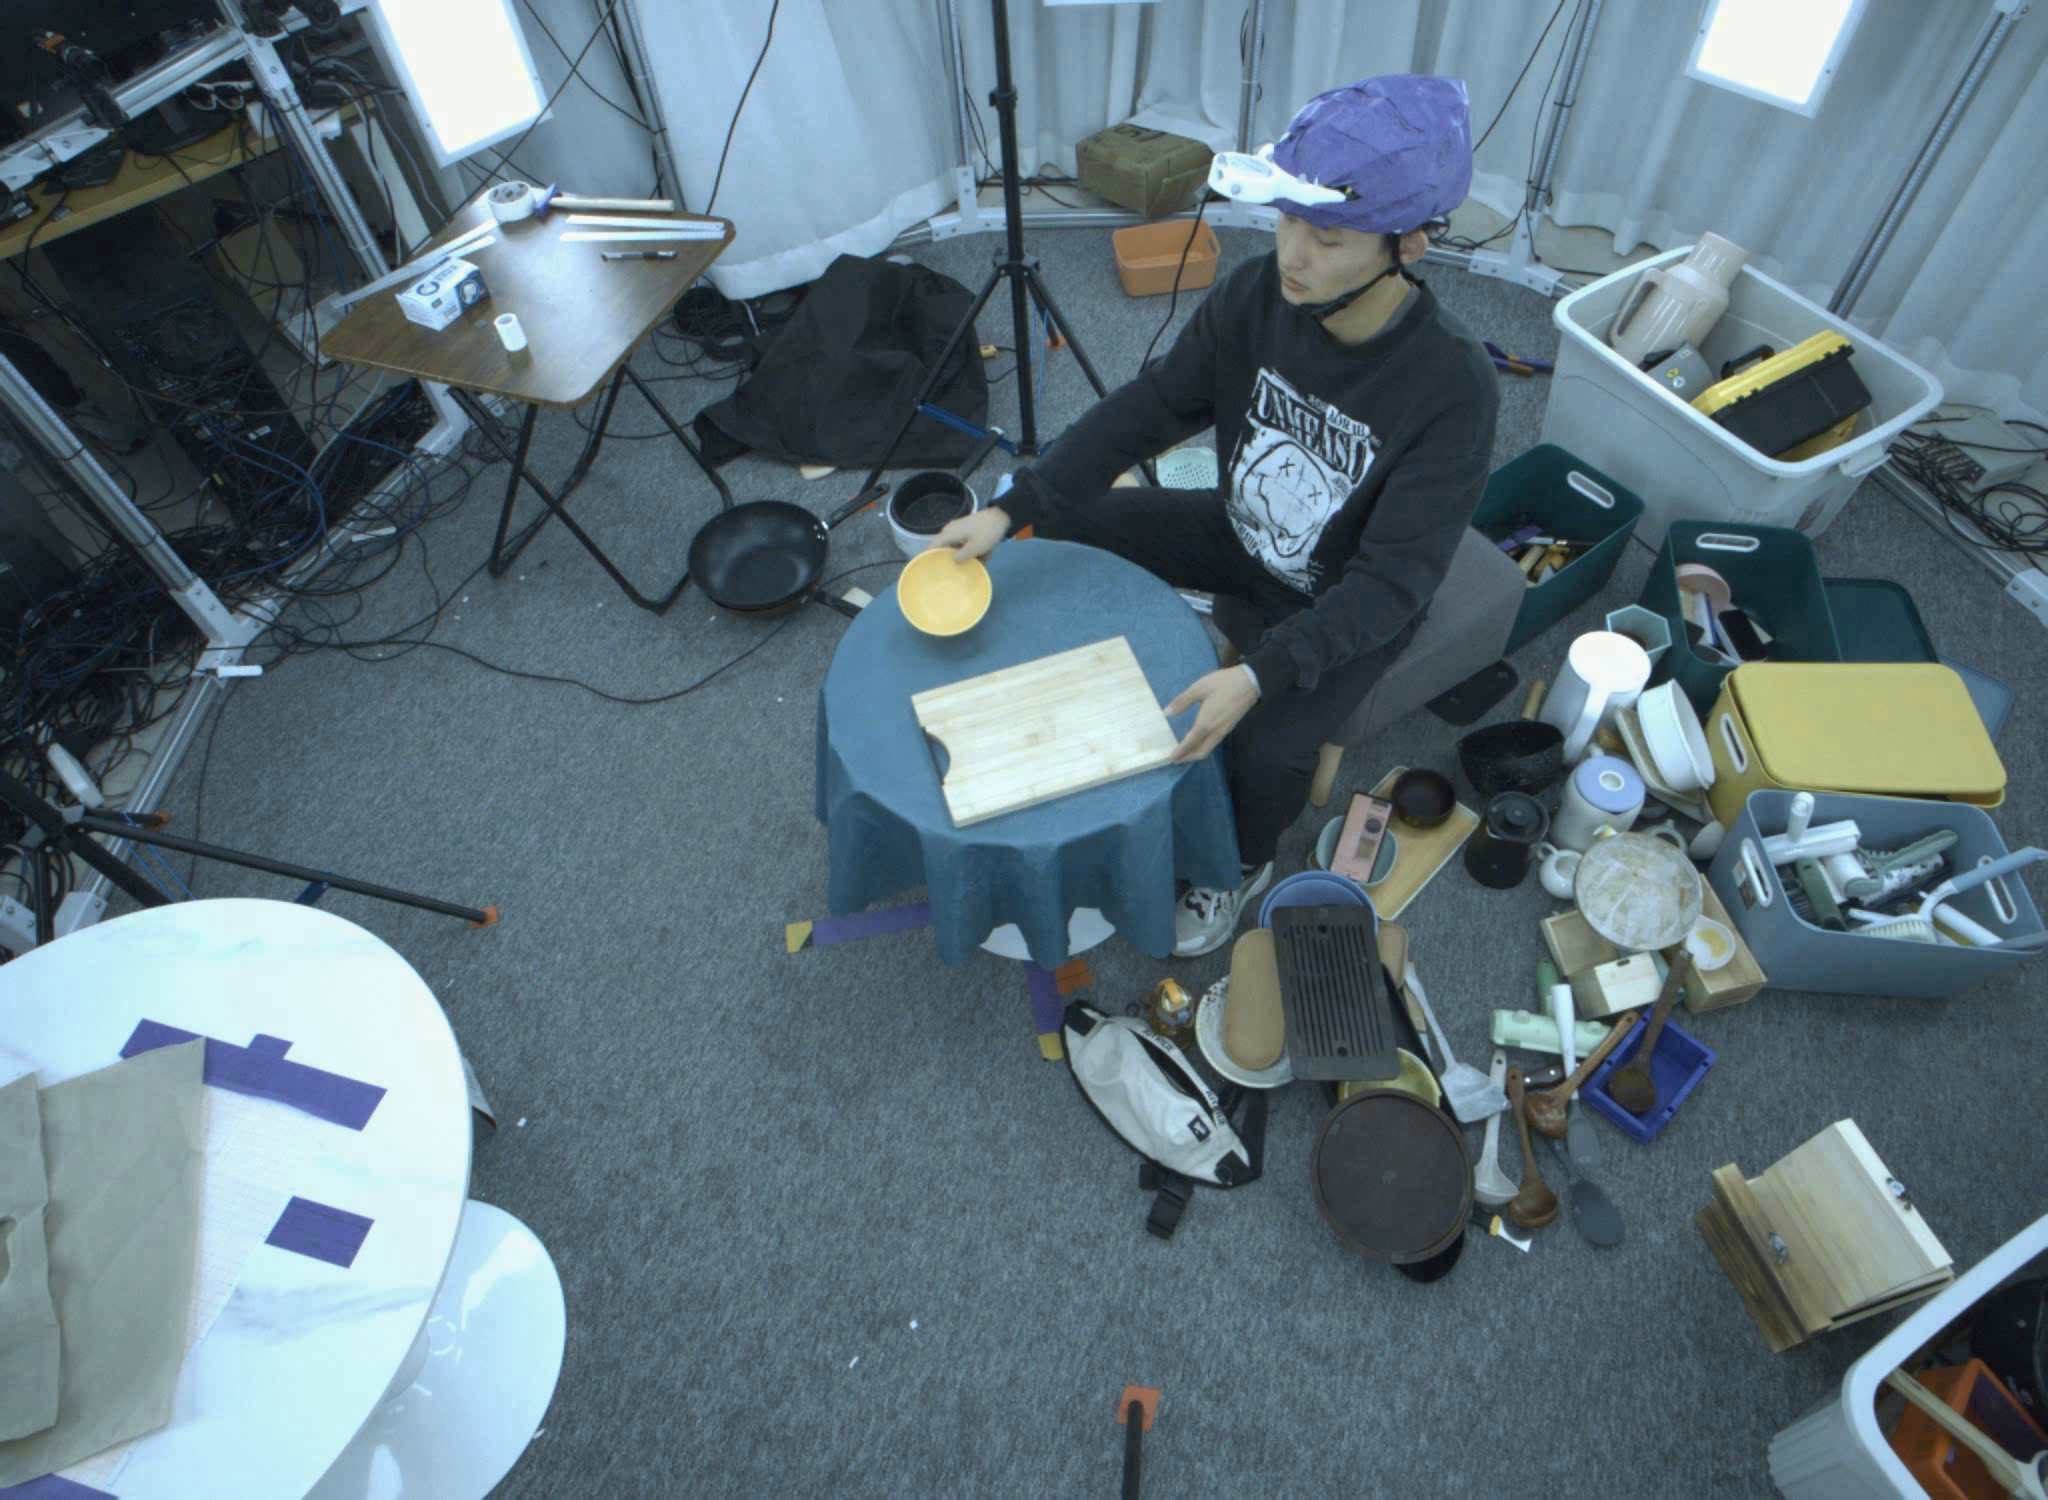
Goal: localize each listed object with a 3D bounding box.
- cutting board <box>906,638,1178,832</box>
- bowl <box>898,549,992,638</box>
[{"bbox_3d":[0.025,-0.028,1.807,0.351,0.024,0.246,-17,56,-10],"label":"cutting board"},{"bbox_3d":[-0.124,-0.236,1.906,0.146,0.060,0.144,2,78,-6],"label":"bowl"}]
